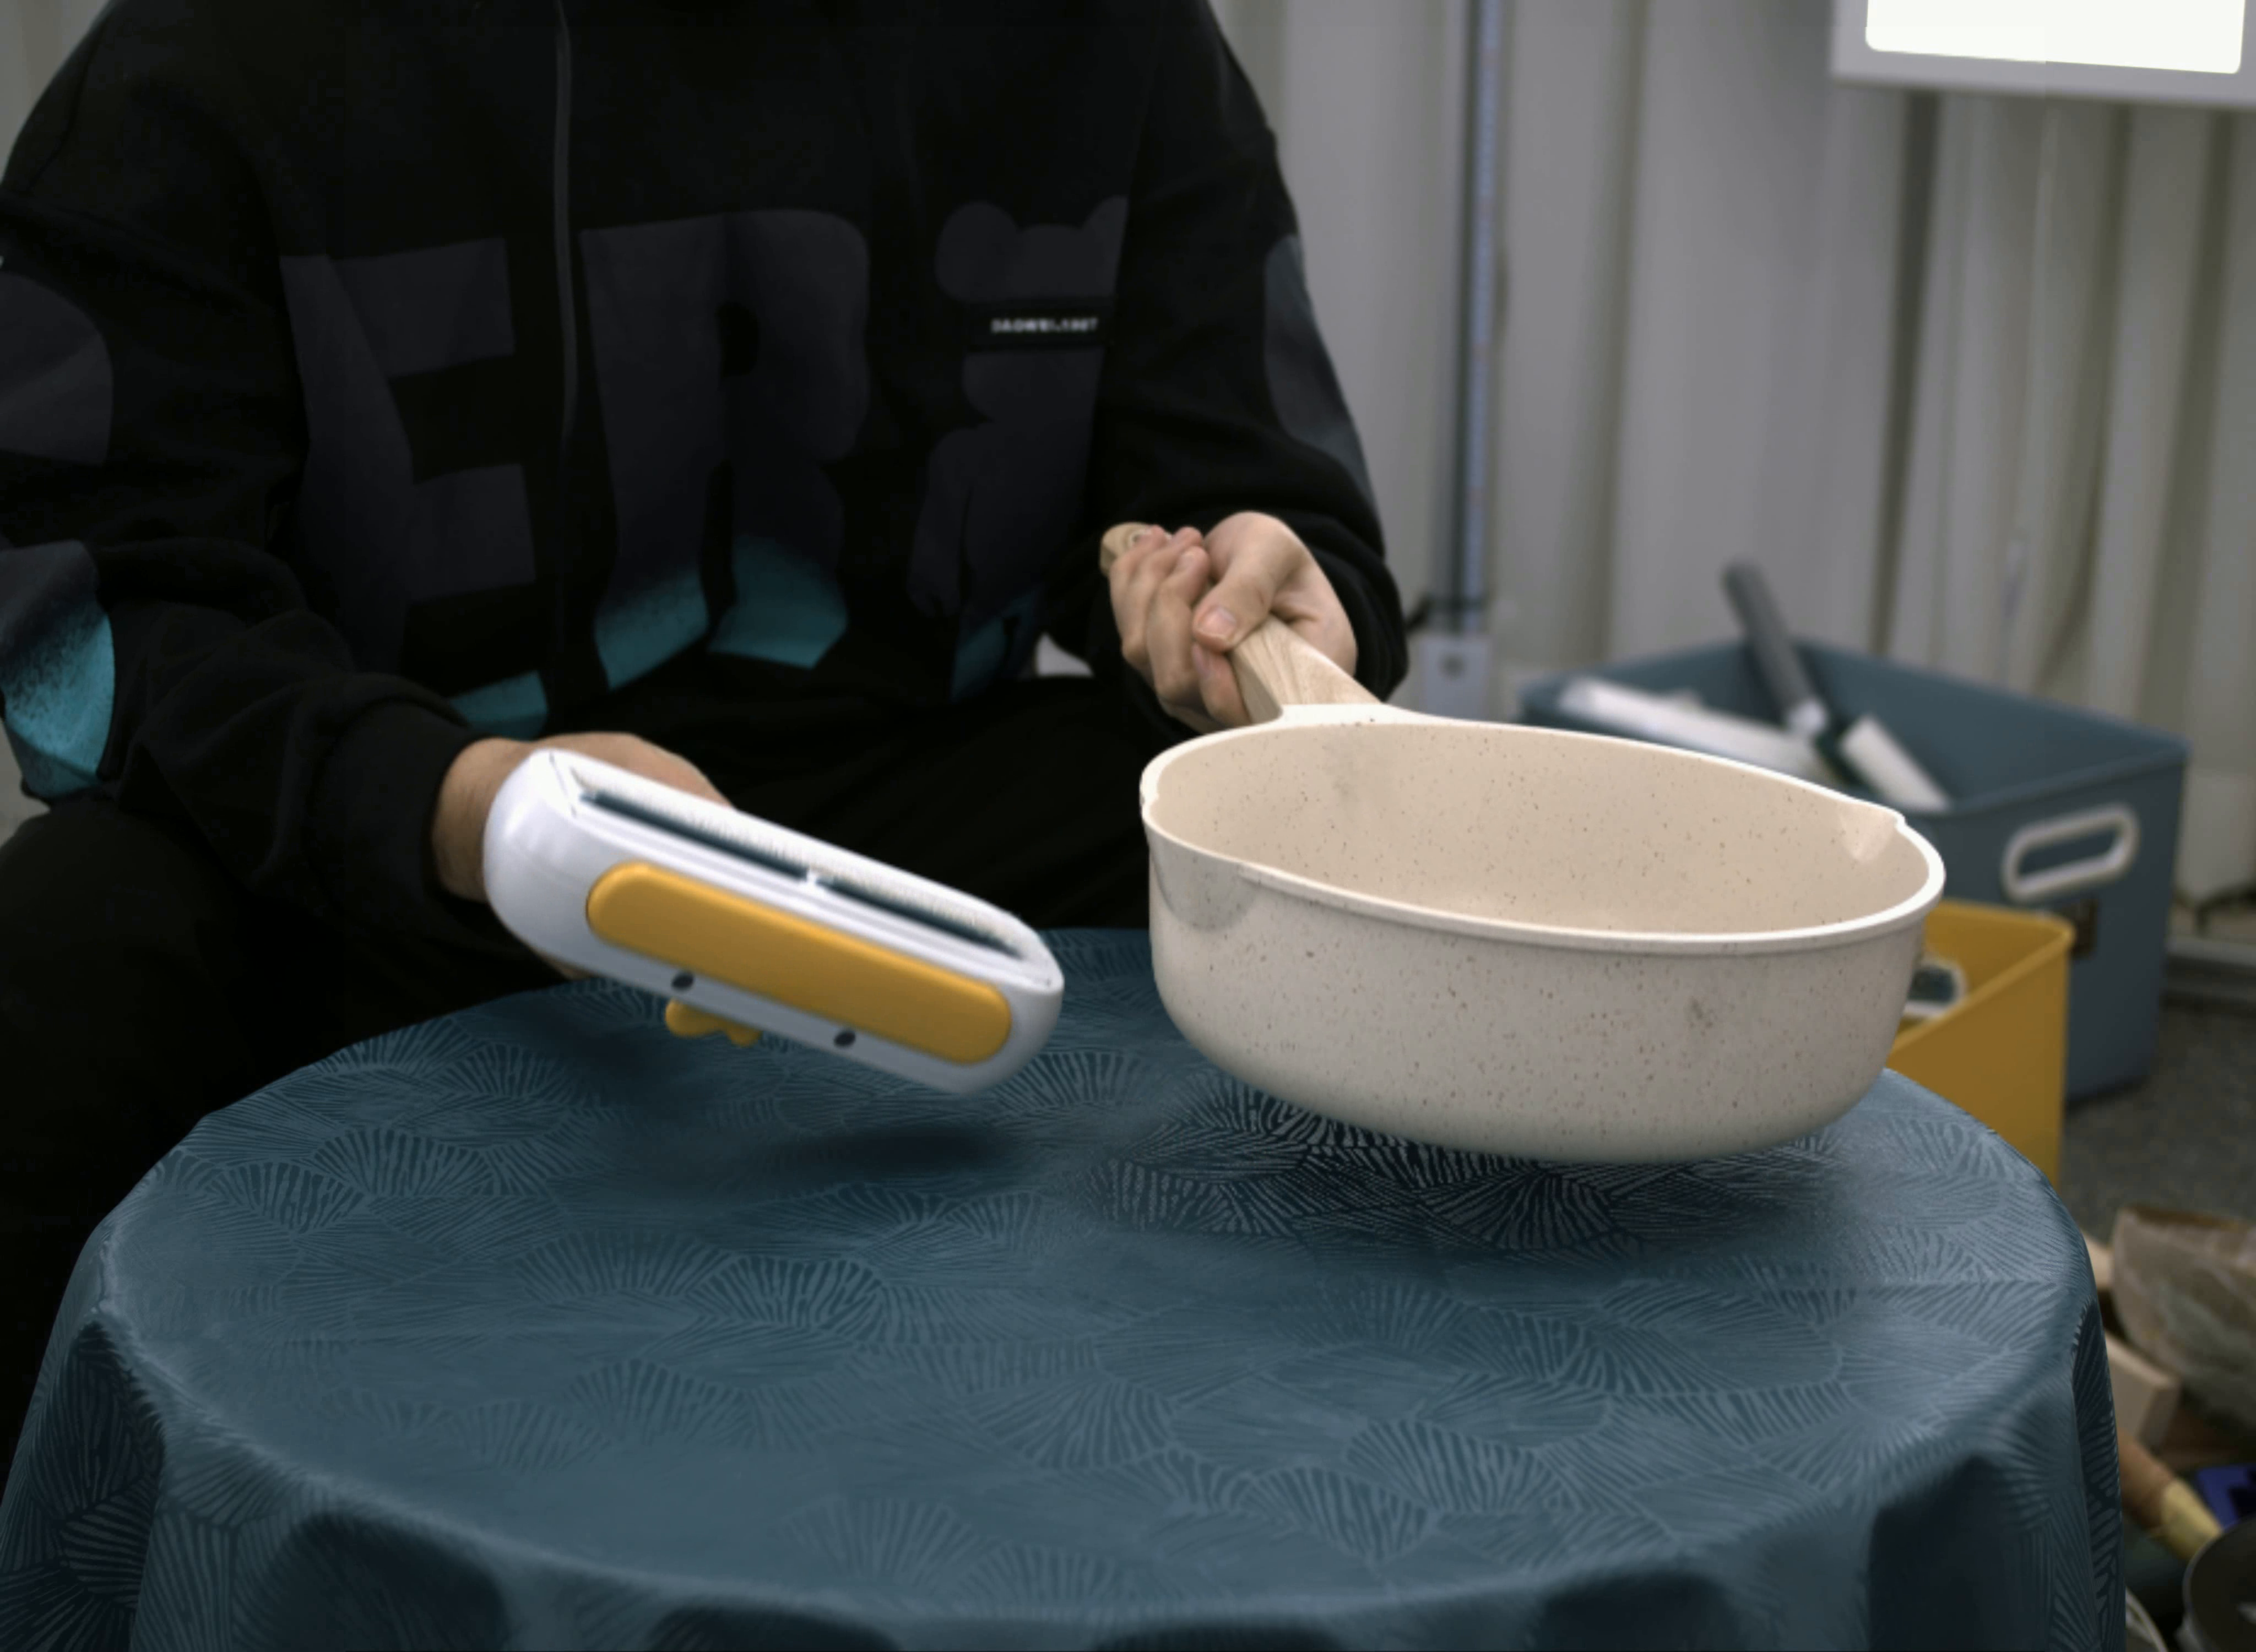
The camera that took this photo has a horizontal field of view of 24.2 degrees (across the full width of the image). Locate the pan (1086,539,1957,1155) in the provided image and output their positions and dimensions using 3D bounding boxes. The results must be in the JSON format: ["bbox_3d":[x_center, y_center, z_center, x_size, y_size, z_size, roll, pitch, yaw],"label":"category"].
[{"bbox_3d":[0.089,0.003,1.718,0.264,0.103,0.429,-4,17,-26],"label":"pan"}]

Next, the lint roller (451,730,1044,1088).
[{"bbox_3d":[-0.135,0.016,1.670,0.194,0.074,0.190,17,11,-22],"label":"lint roller"}]
